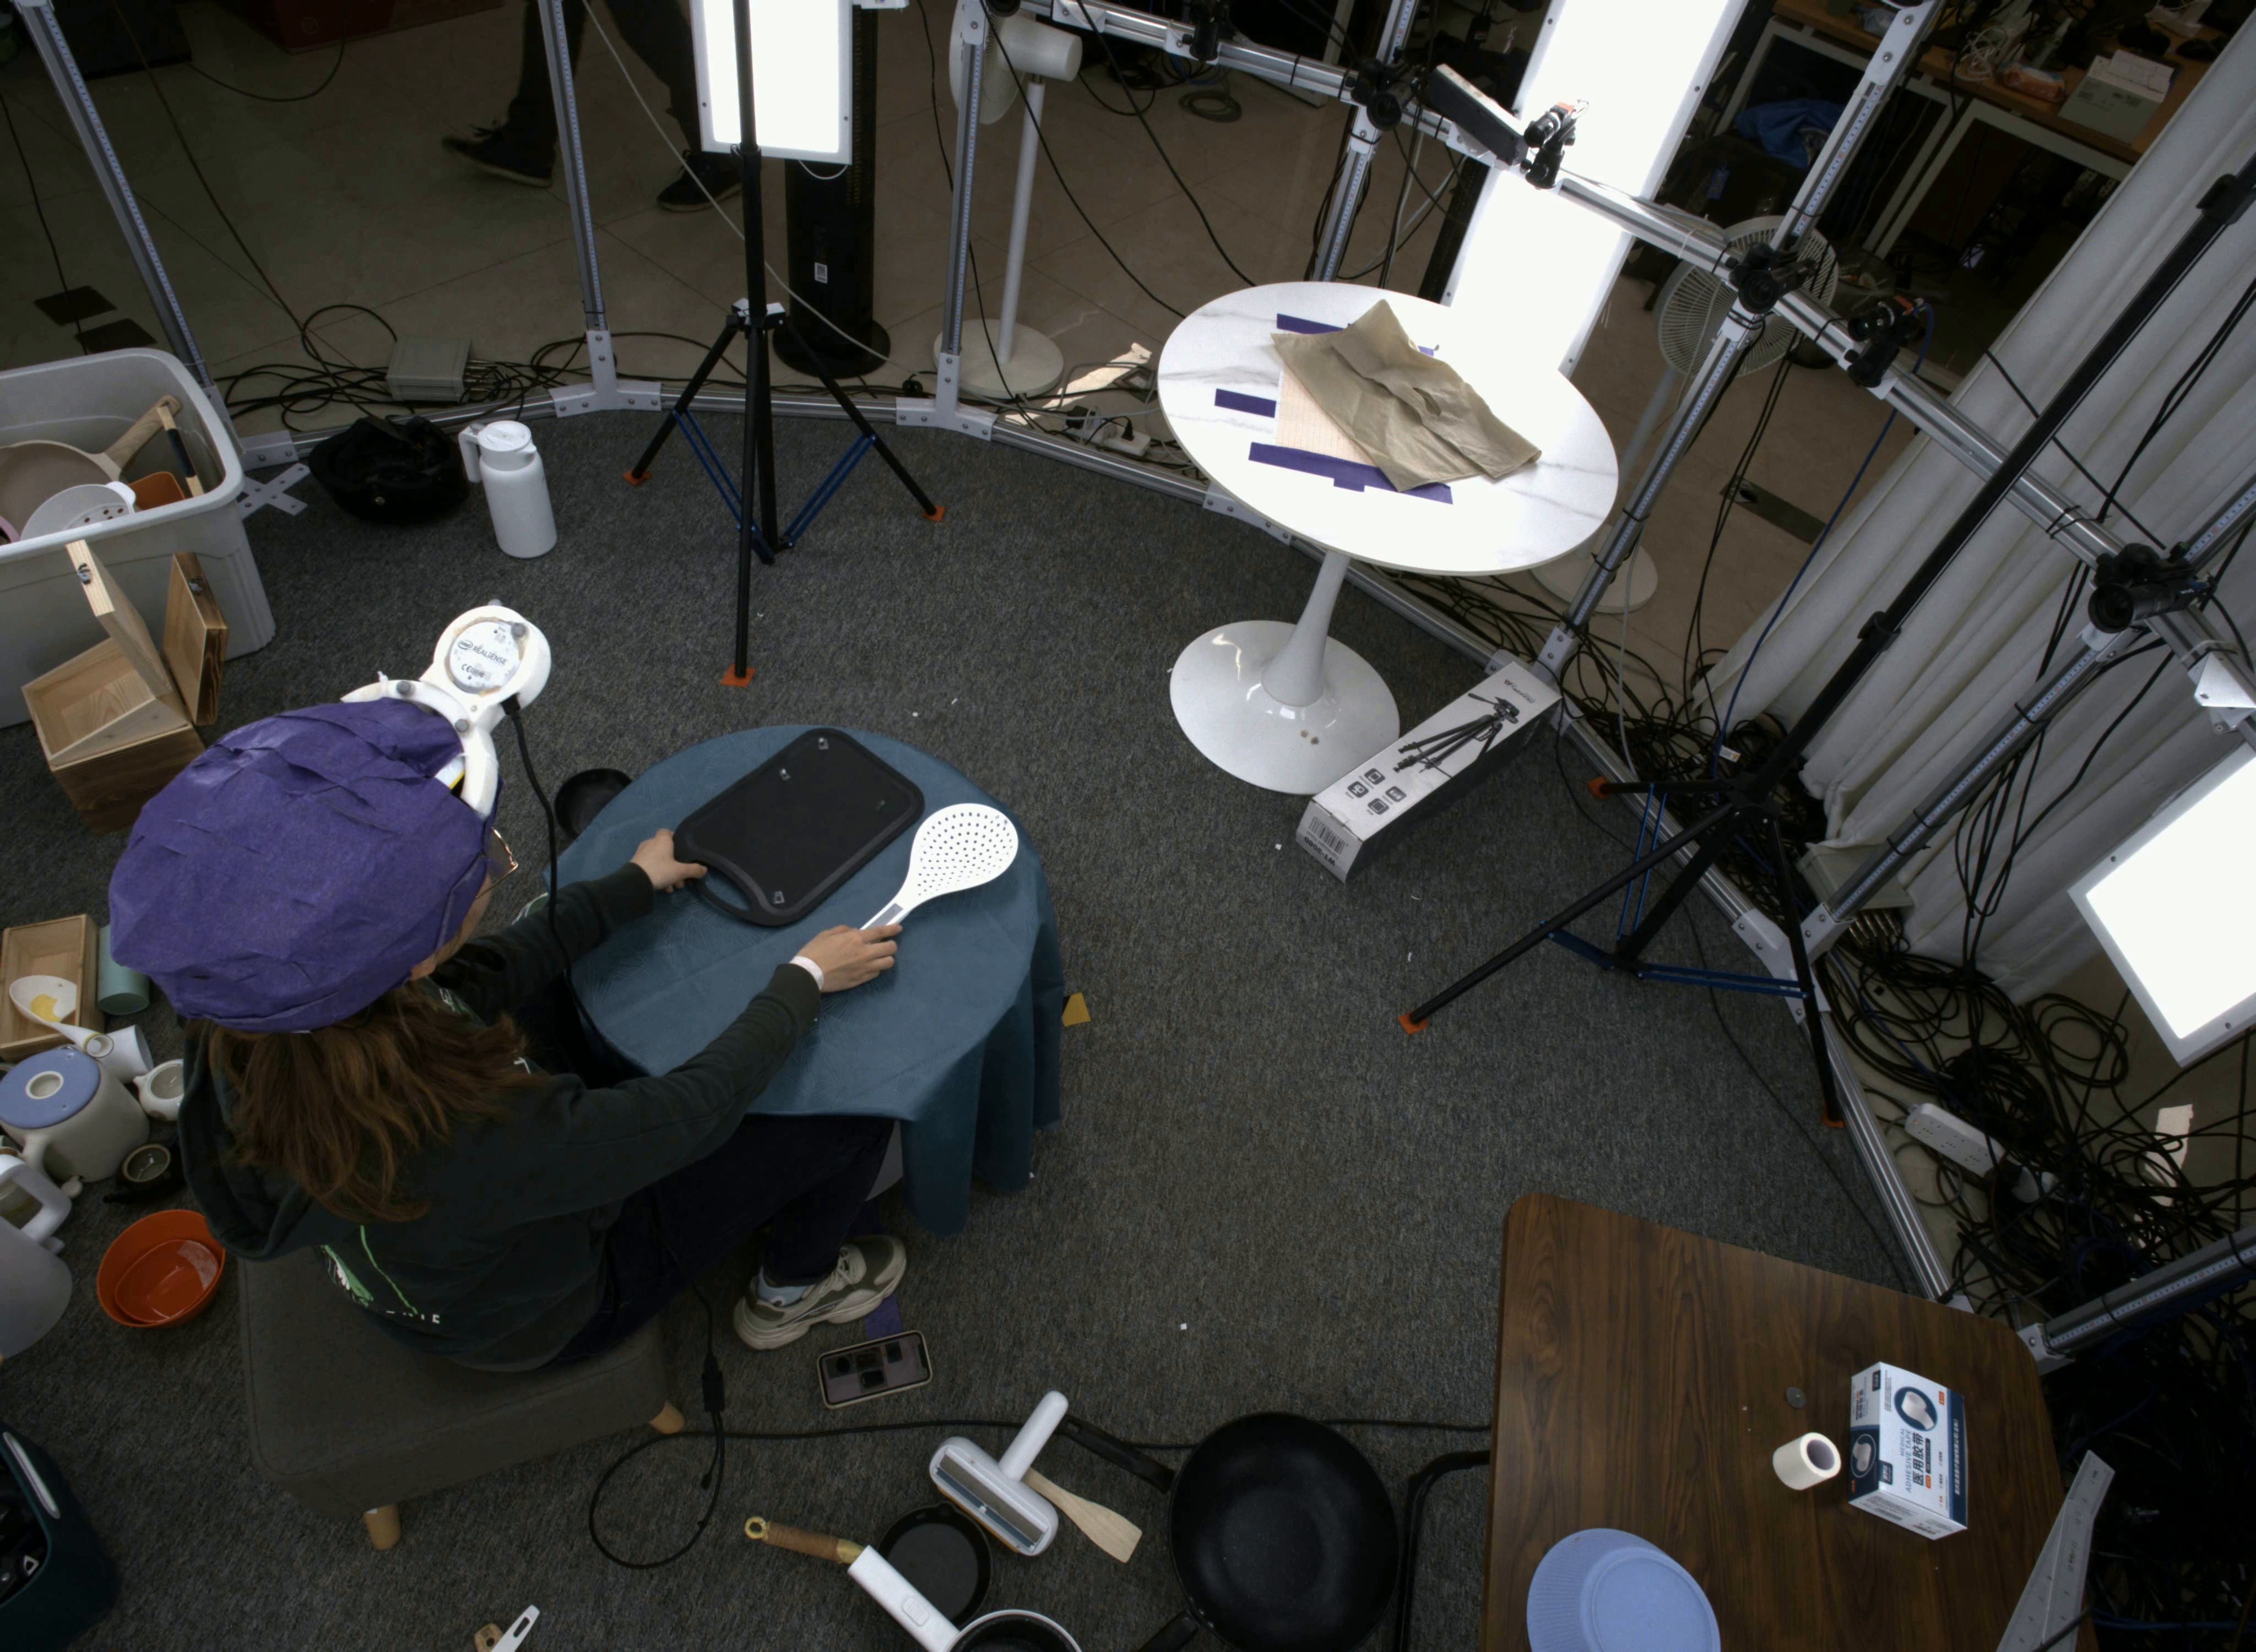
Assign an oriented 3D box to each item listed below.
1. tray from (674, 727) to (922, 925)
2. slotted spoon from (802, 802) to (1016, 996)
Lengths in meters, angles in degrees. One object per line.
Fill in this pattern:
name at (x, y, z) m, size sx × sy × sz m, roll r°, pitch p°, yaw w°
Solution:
tray at (-0.437, -0.004, 1.716) m, size 0.208 × 0.010 × 0.325 m, roll 37°, pitch 52°, yaw 10°
slotted spoon at (-0.282, 0.091, 1.668) m, size 0.132 × 0.047 × 0.350 m, roll 32°, pitch 53°, yaw 22°
